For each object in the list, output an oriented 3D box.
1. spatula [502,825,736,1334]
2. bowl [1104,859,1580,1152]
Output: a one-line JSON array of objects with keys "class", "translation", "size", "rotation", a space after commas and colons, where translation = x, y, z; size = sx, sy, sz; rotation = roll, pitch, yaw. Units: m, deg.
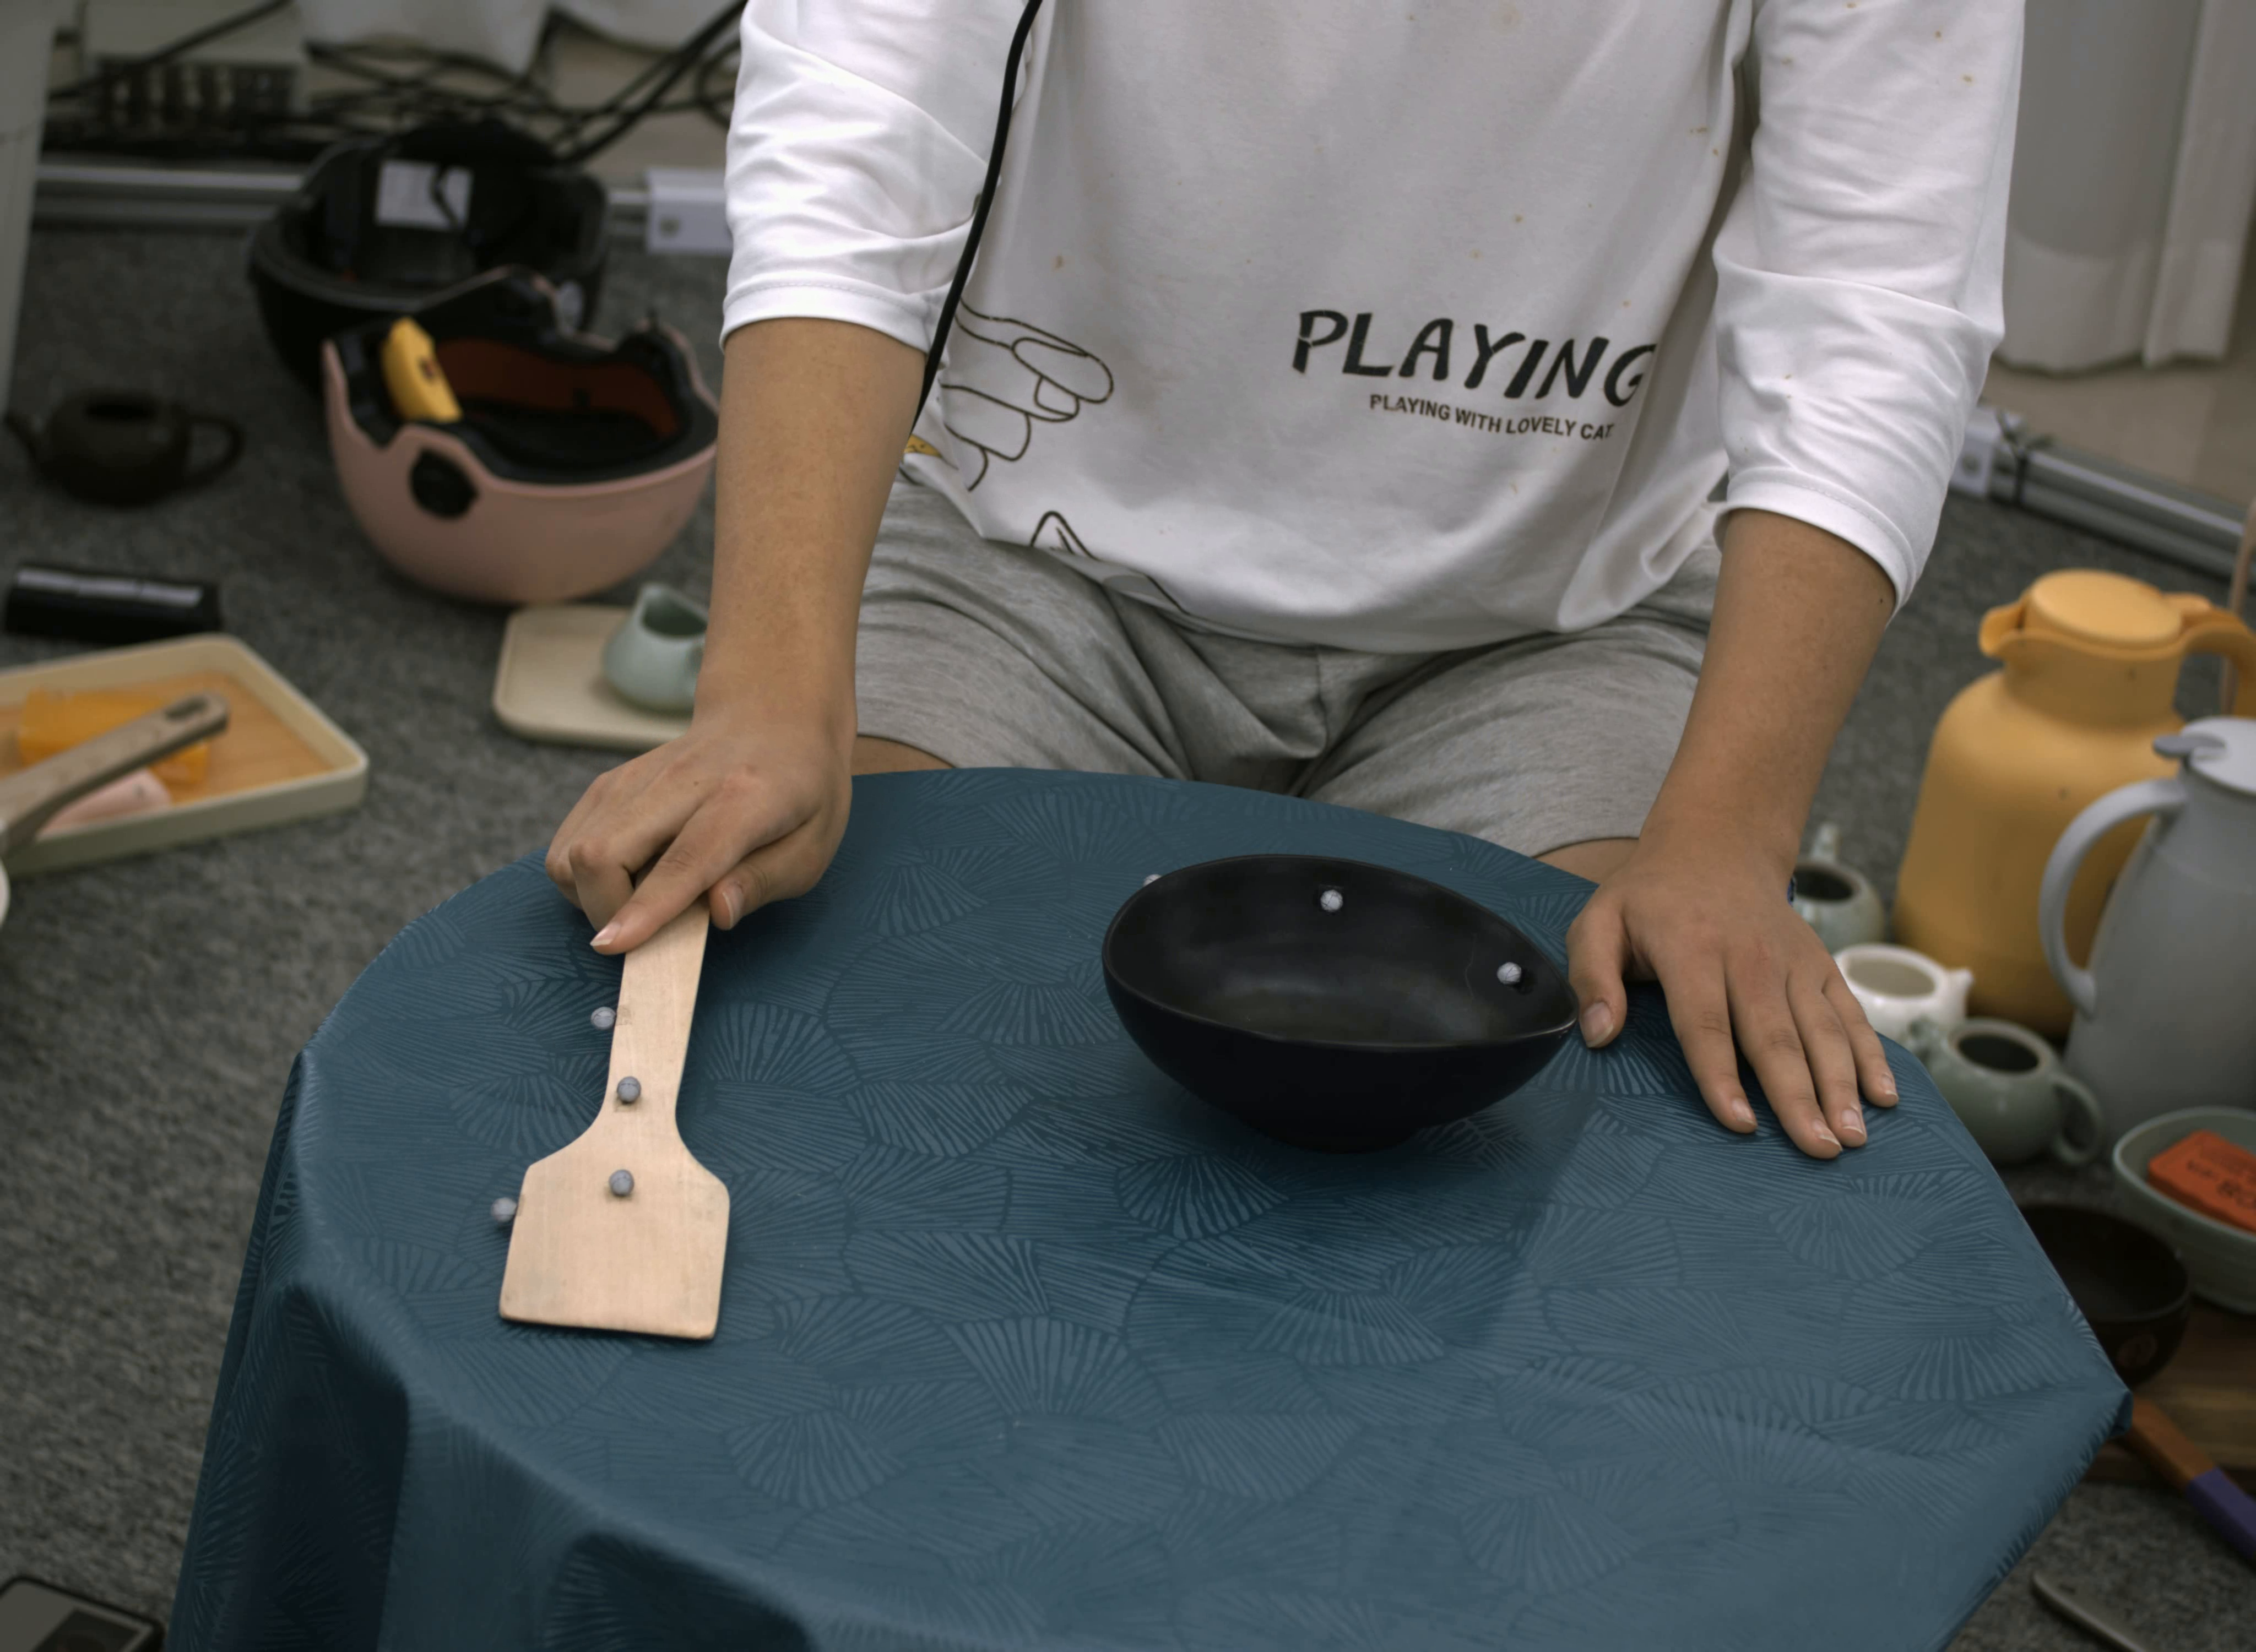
[{"class": "spatula", "translation": [-0.163, 0.081, 1.815], "size": [0.072, 0.010, 0.295], "rotation": [5, 33, -2]}, {"class": "bowl", "translation": [0.071, 0.070, 1.860], "size": [0.169, 0.066, 0.138], "rotation": [3, 26, -12]}]
